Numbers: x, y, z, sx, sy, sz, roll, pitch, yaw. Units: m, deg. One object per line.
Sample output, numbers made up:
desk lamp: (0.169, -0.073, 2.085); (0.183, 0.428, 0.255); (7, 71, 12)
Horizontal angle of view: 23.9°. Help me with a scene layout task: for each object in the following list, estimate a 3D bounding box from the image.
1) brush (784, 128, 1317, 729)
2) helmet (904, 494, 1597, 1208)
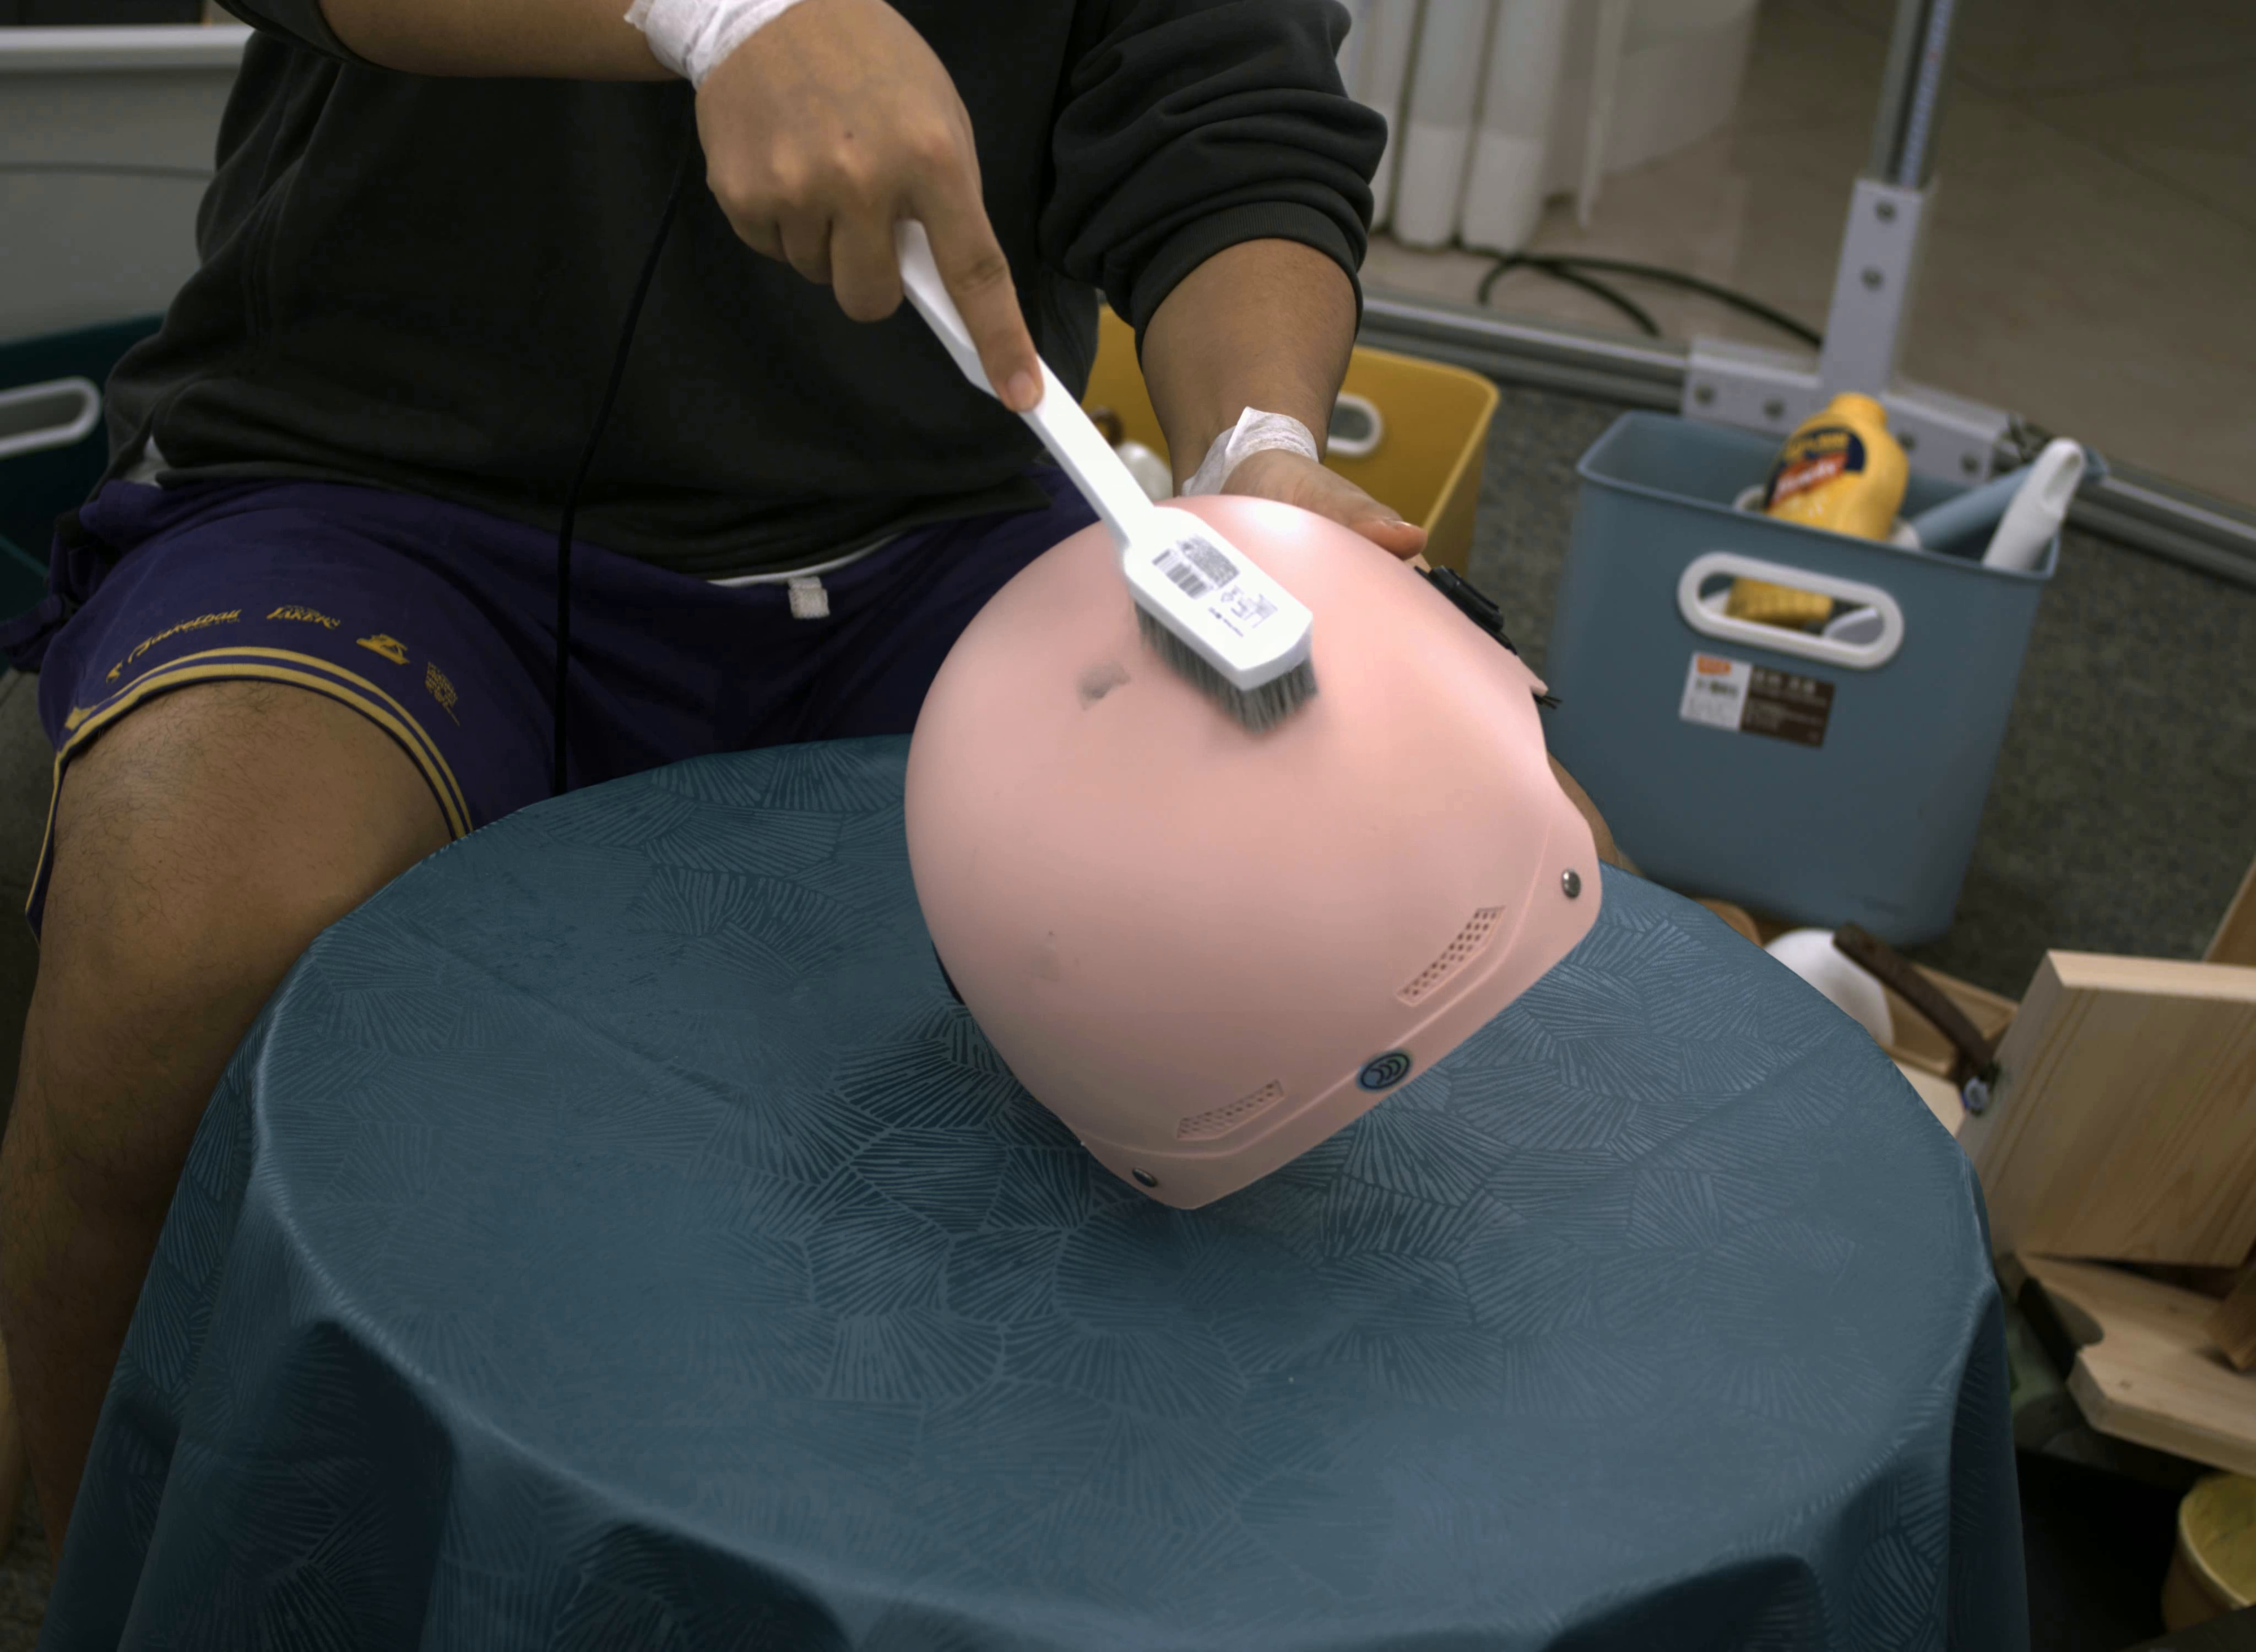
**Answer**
brush: (-0.028, -0.128, 1.709); (0.034, 0.050, 0.244); (-39, 78, -22)
helmet: (0.018, -0.019, 1.796); (0.234, 0.157, 0.268); (-37, 40, 8)
